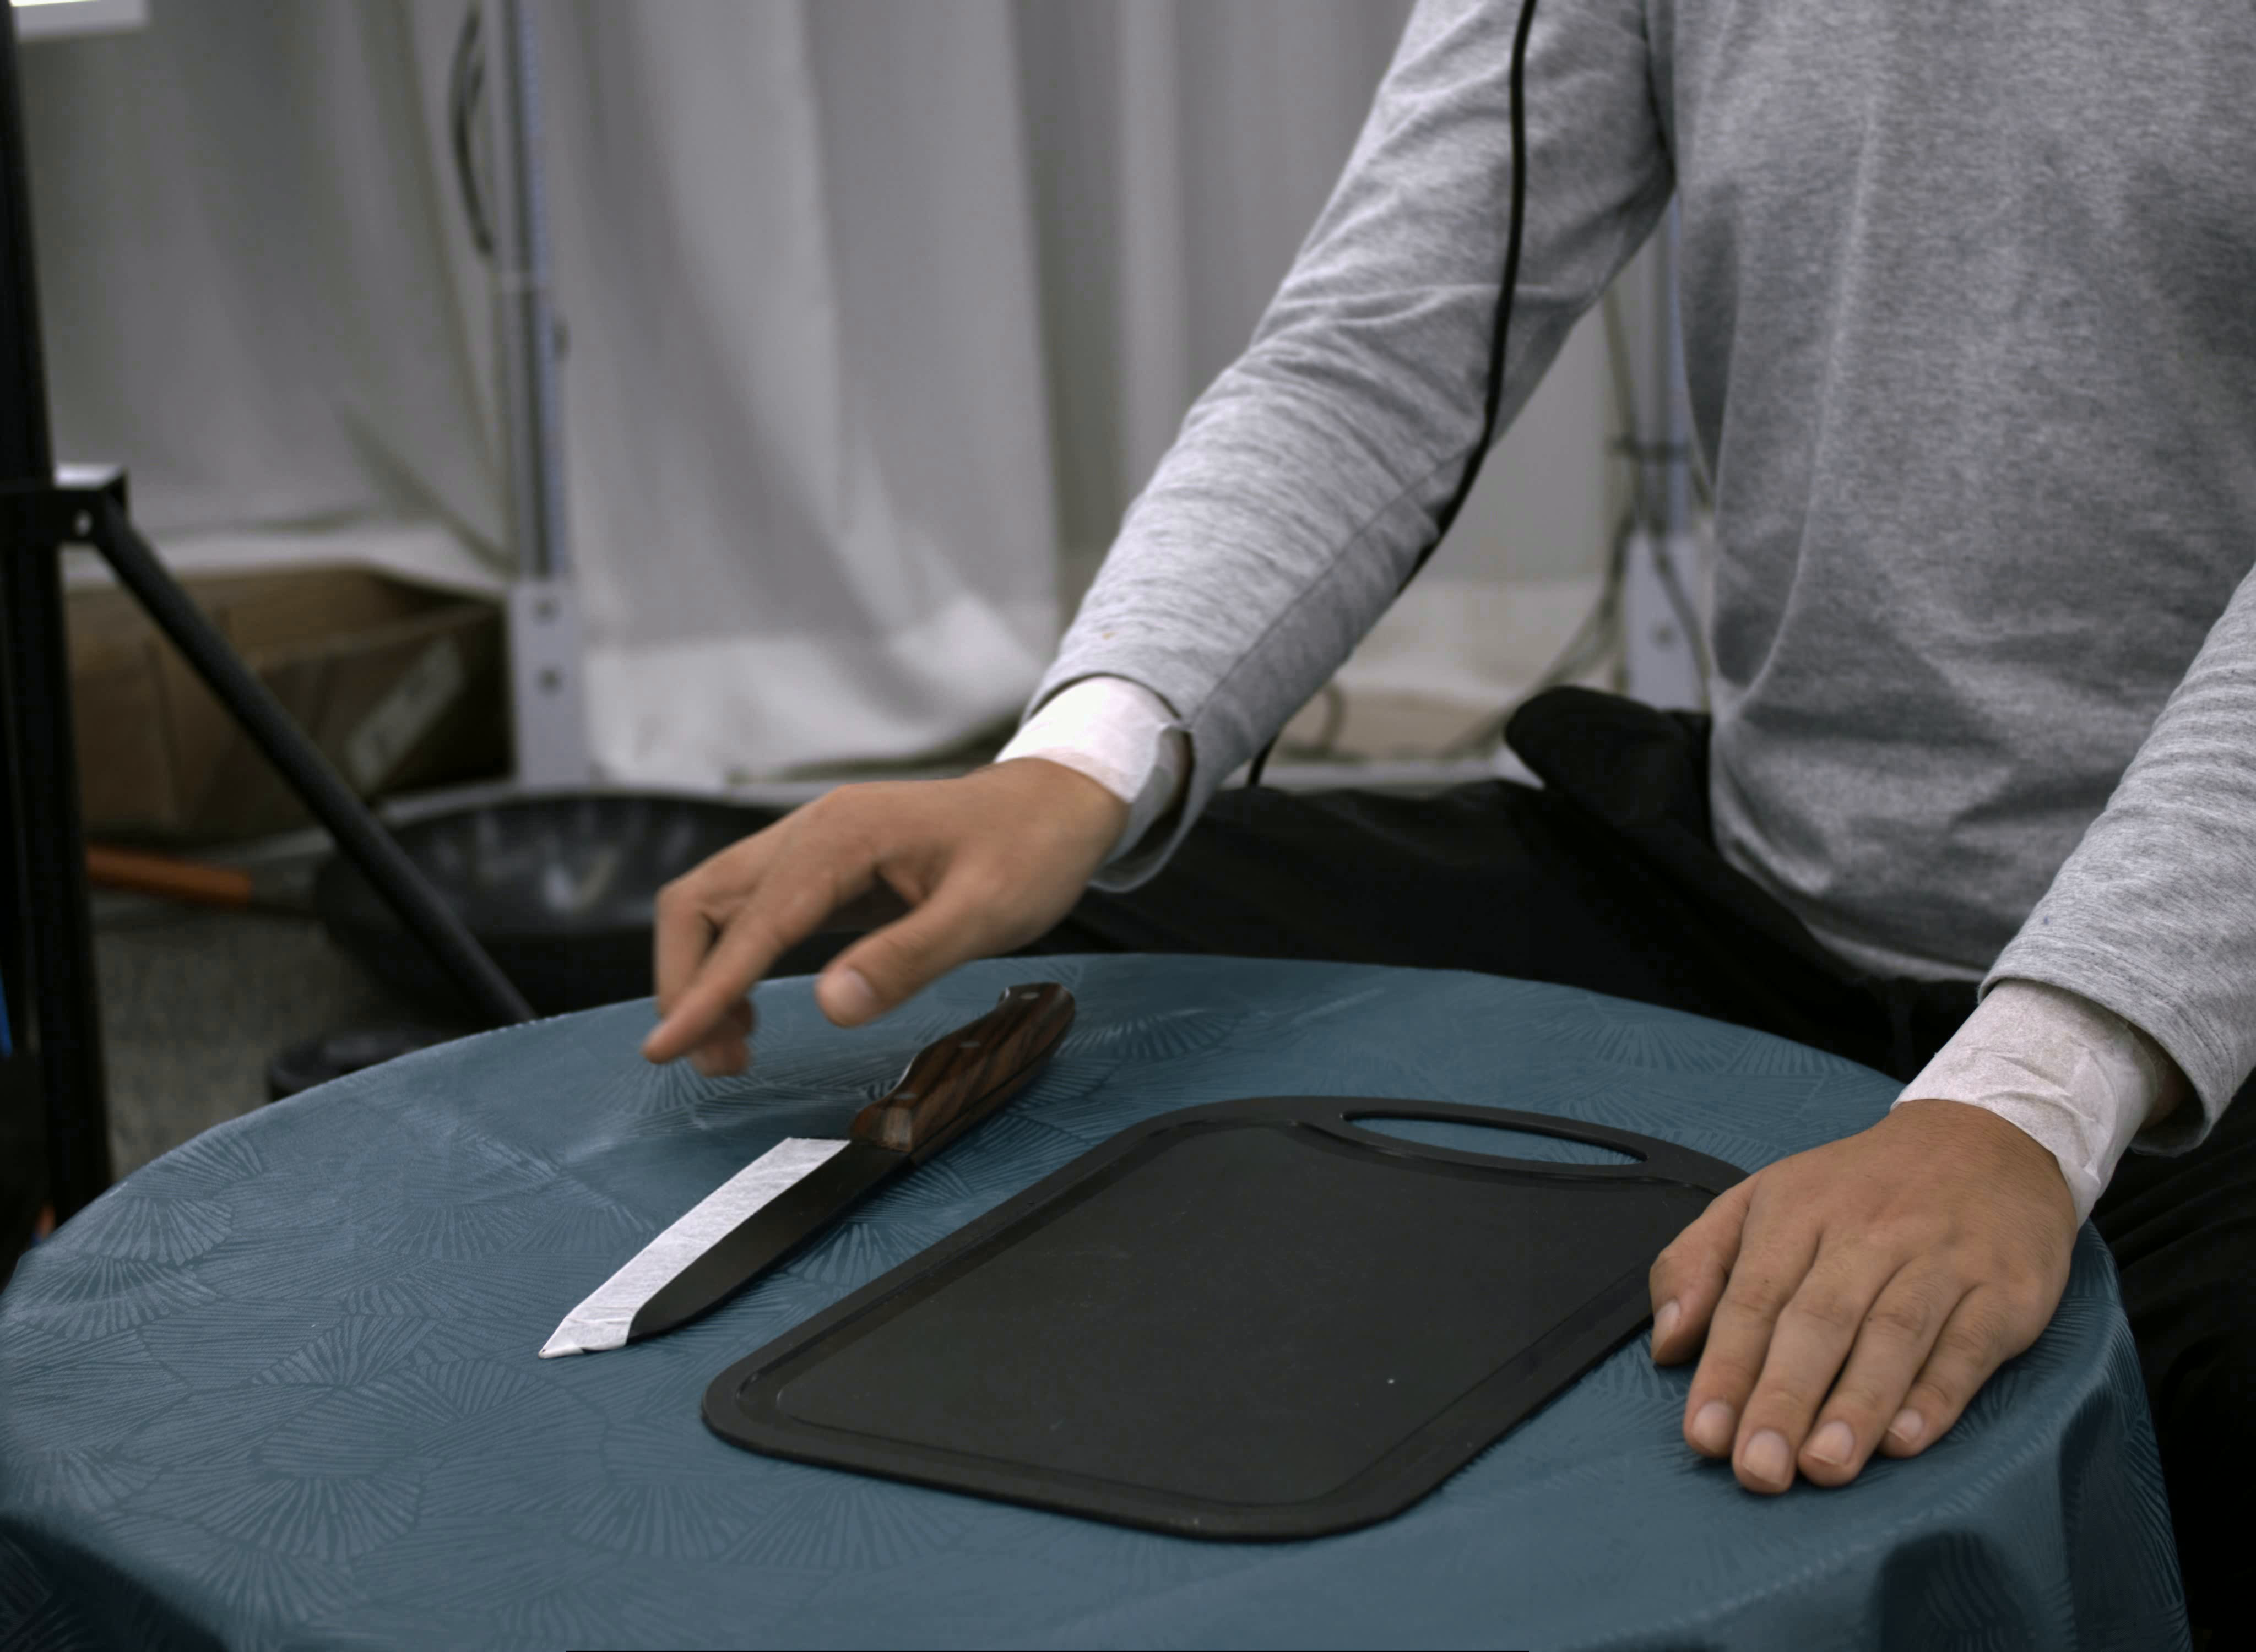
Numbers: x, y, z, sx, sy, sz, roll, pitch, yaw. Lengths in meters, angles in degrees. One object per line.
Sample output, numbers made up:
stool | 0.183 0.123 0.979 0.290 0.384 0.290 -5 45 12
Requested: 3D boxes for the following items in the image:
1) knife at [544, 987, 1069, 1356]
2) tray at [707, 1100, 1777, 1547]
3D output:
knife | -0.090 0.102 1.570 0.051 0.020 0.284 1 18 29
tray | 0.041 0.128 1.475 0.215 0.010 0.319 8 18 31
